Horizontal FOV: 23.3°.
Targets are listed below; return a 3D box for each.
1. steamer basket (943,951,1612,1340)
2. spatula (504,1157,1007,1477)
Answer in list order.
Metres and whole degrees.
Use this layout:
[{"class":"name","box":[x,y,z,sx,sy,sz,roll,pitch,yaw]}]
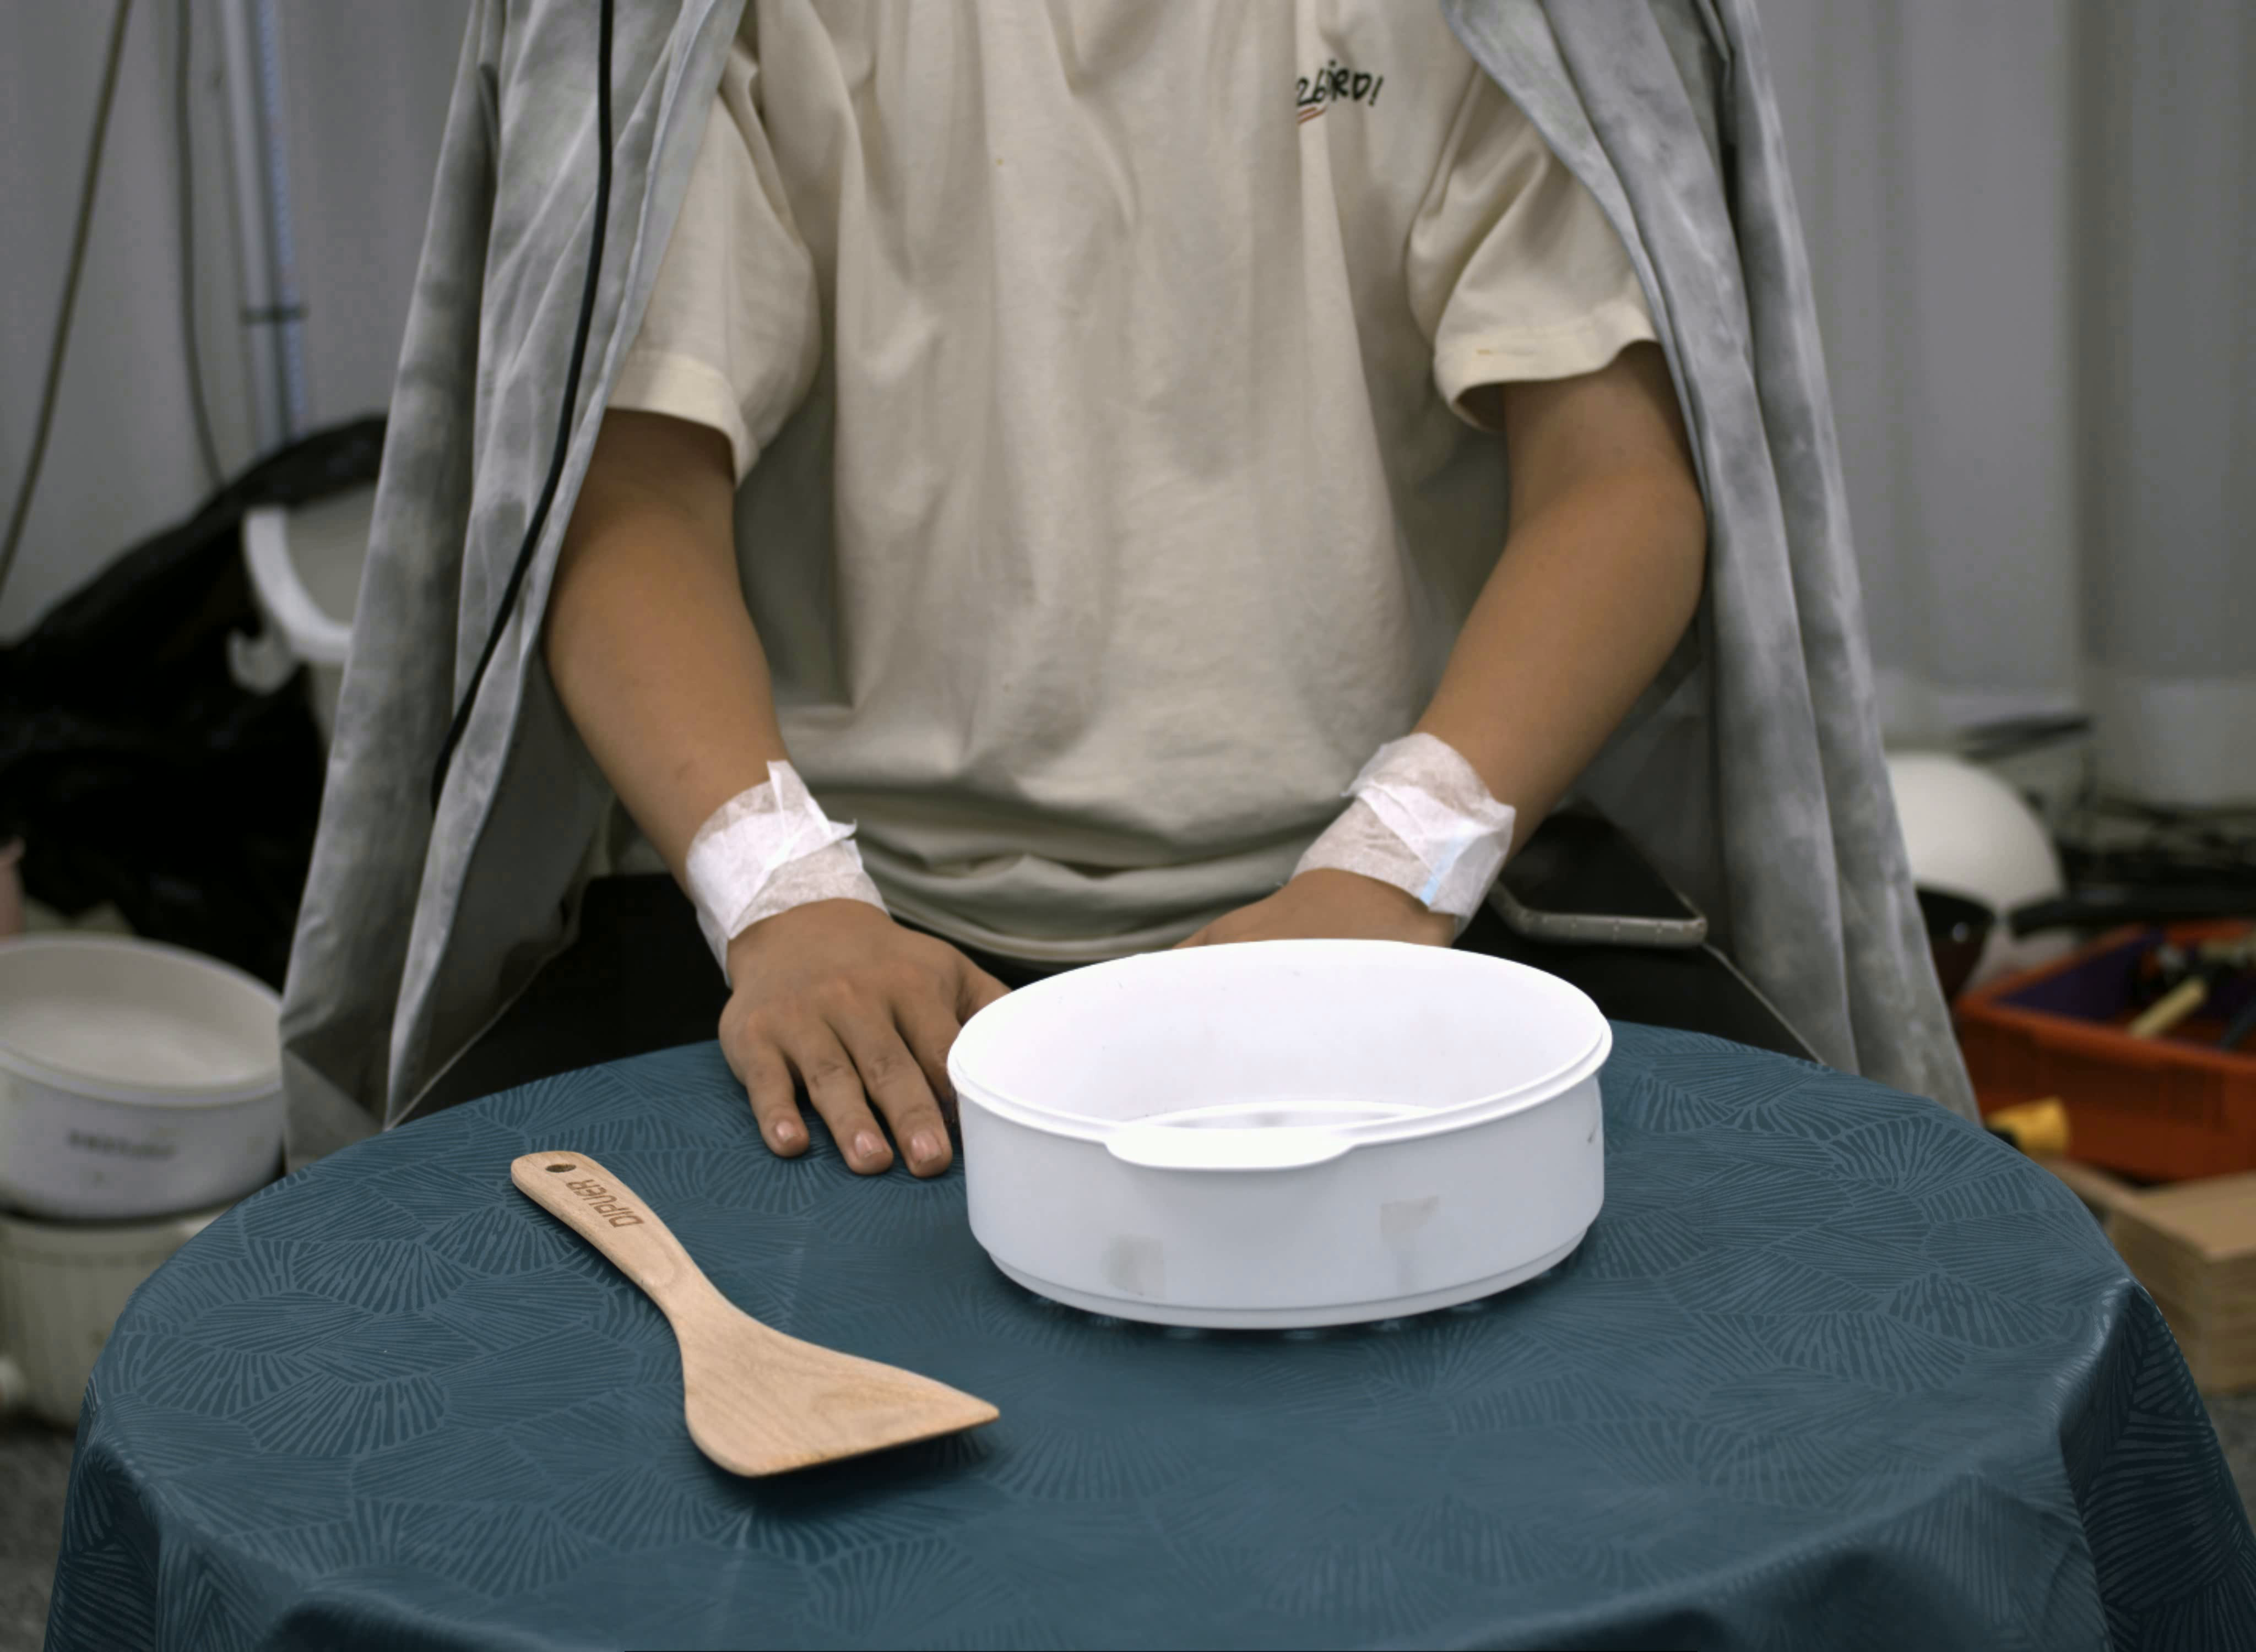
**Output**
[{"class":"steamer basket","box":[0.045,0.096,1.654,0.201,0.069,0.231,2,15,11]},{"class":"spatula","box":[-0.126,0.140,1.616,0.079,0.016,0.330,-8,15,-22]}]
